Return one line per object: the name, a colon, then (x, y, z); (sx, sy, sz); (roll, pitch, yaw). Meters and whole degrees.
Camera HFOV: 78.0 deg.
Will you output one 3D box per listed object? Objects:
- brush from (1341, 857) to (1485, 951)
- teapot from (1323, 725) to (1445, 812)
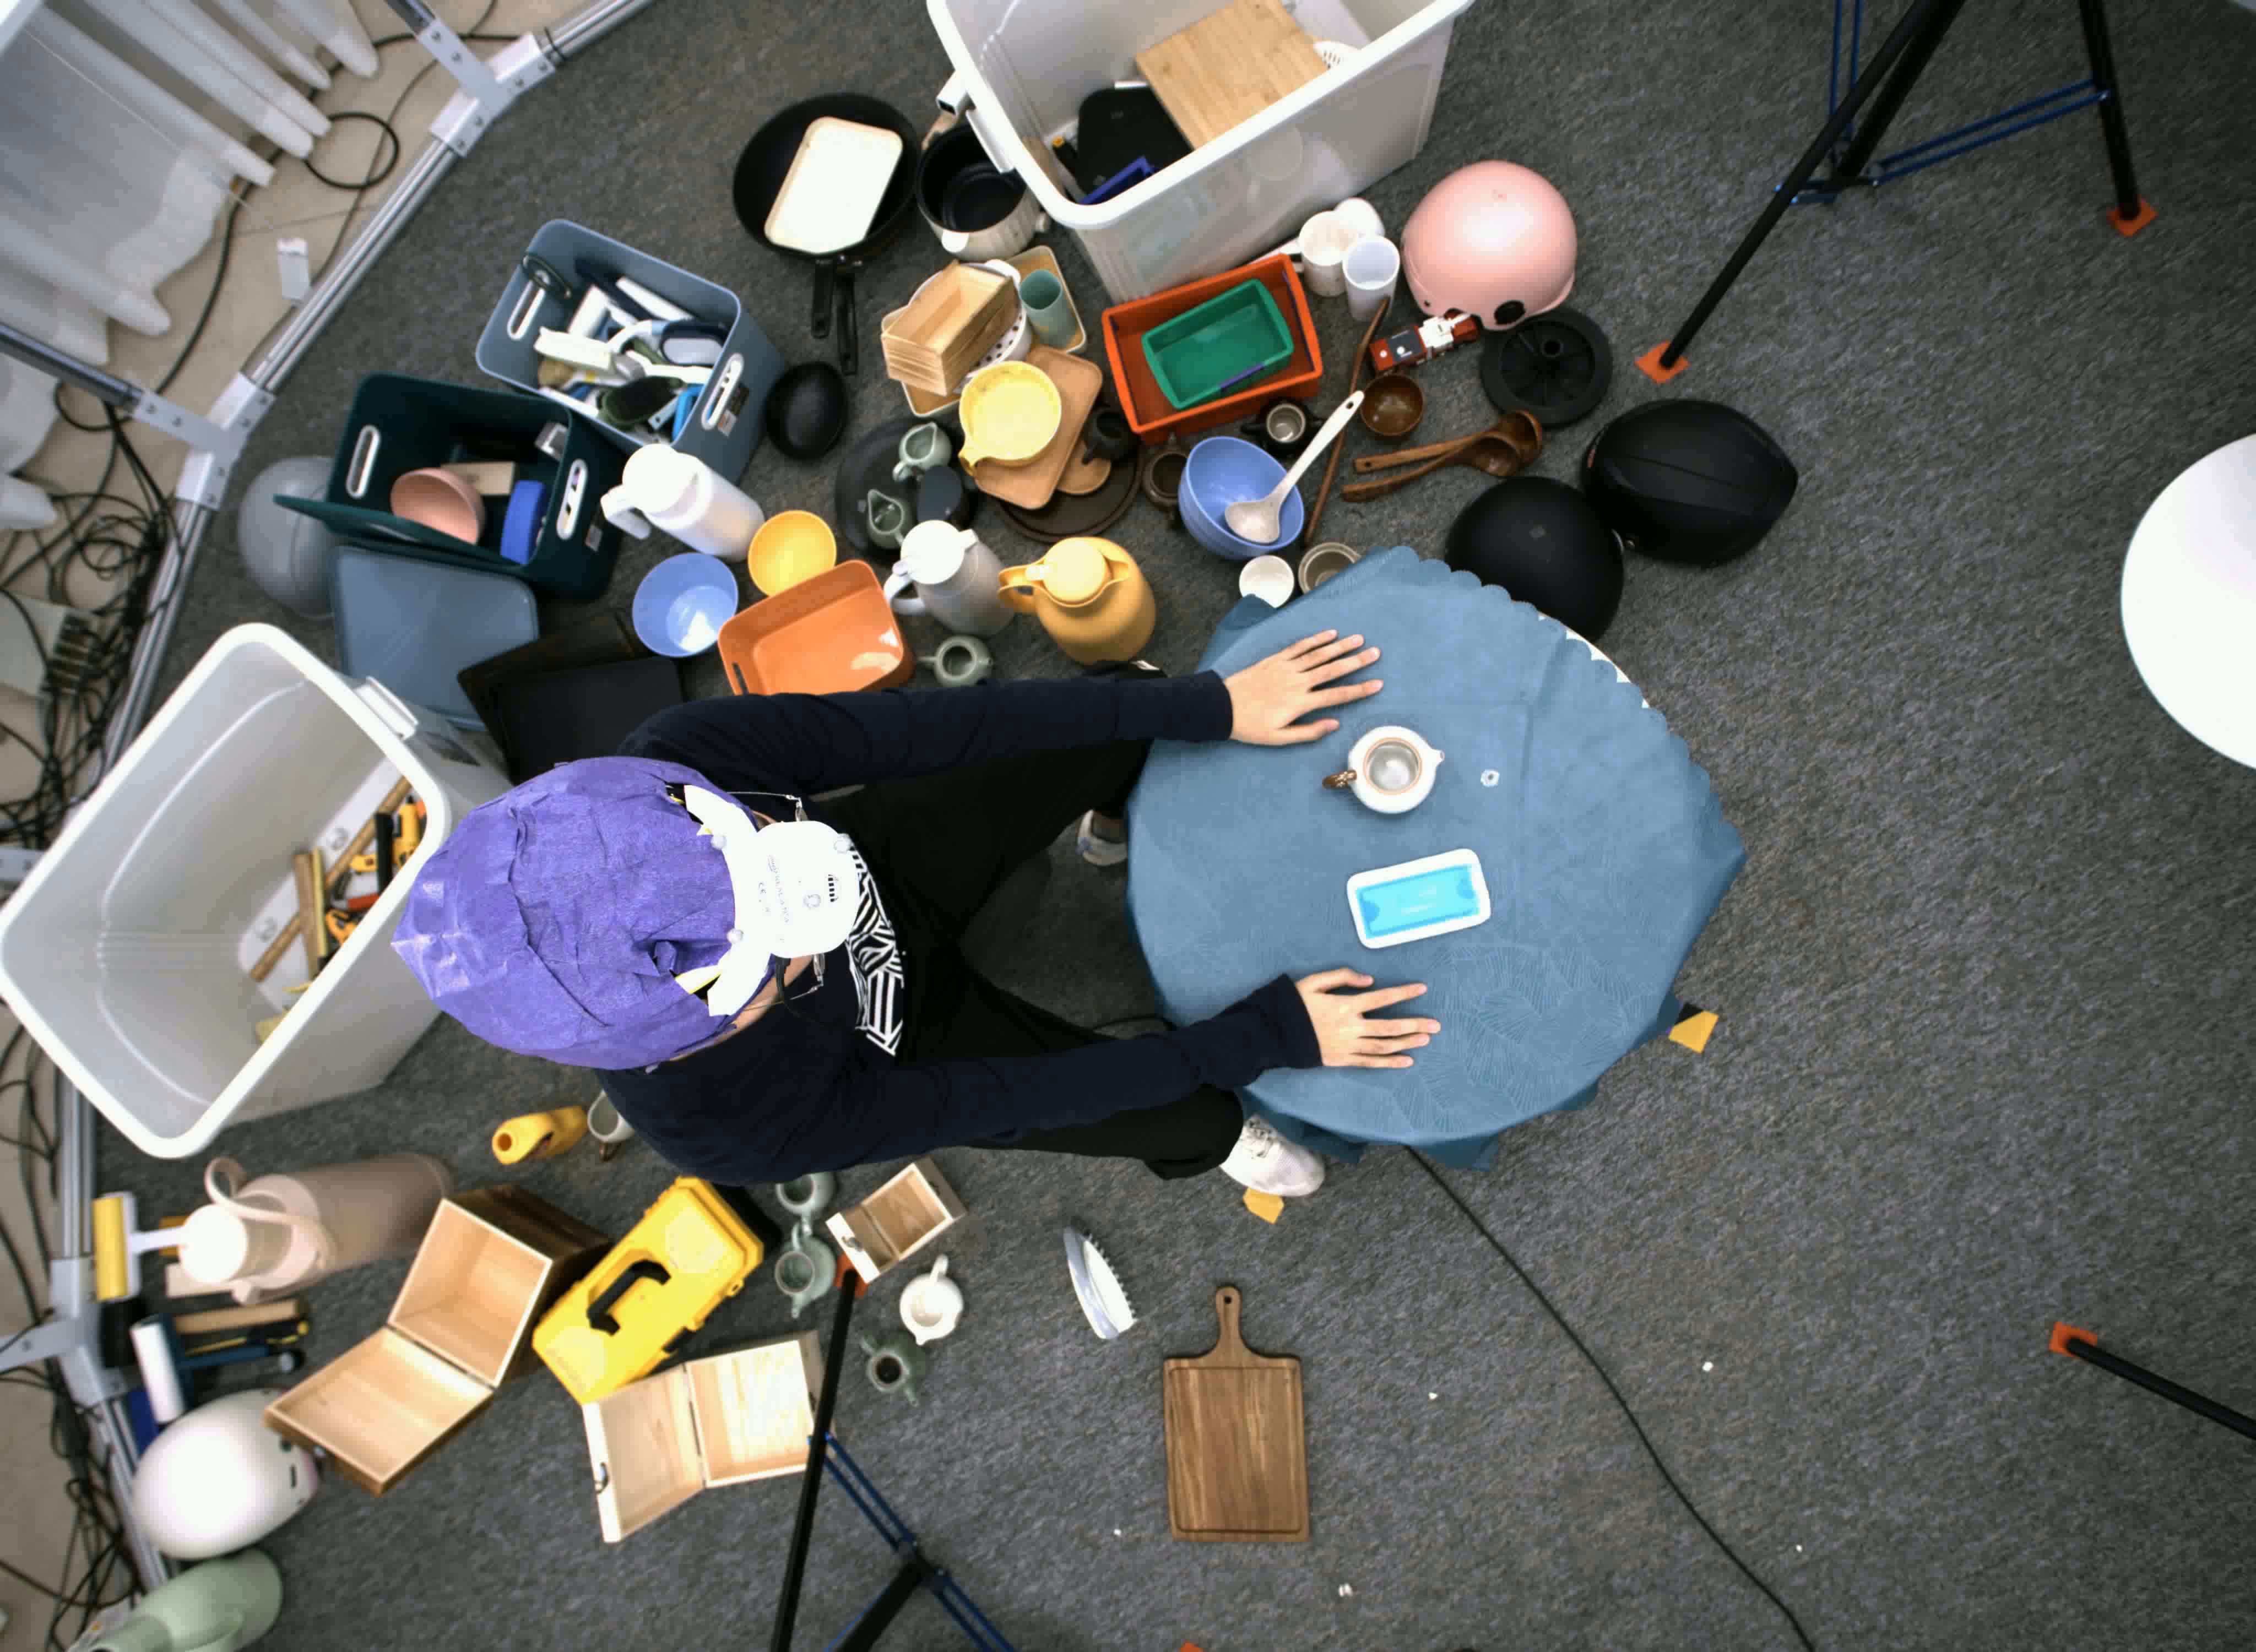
brush: (0.294, 0.076, 1.423); (0.144, 0.056, 0.083); (-11, 81, 7)
teapot: (0.266, -0.059, 1.436); (0.128, 0.059, 0.091); (-15, 87, 8)
